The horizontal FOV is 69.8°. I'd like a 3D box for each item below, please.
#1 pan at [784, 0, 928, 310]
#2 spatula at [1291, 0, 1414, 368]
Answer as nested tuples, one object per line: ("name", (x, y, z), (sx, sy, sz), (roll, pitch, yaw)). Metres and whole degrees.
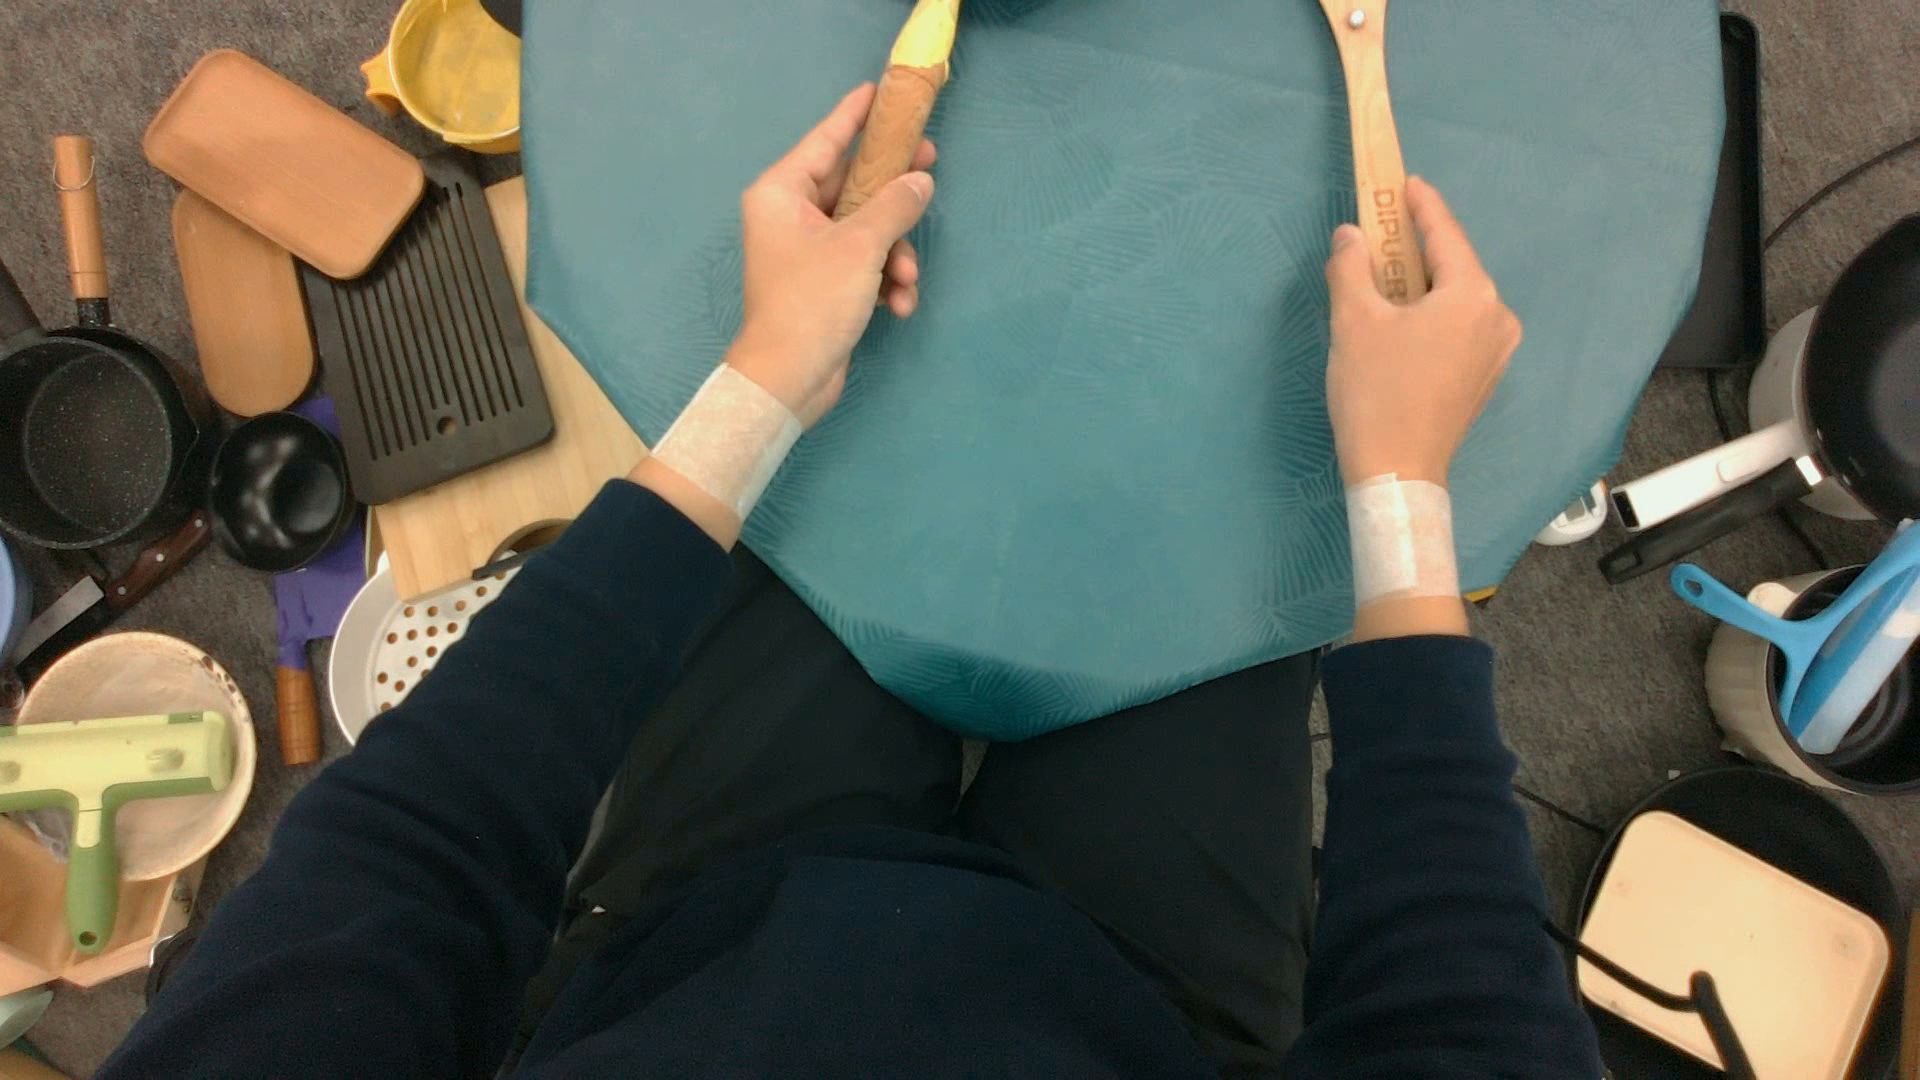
("pan", (-0.026, -0.262, 0.662), (0.169, 0.049, 0.324), (18, 84, 0))
("spatula", (0.181, -0.241, 0.671), (0.080, 0.016, 0.328), (-6, 78, 0))
